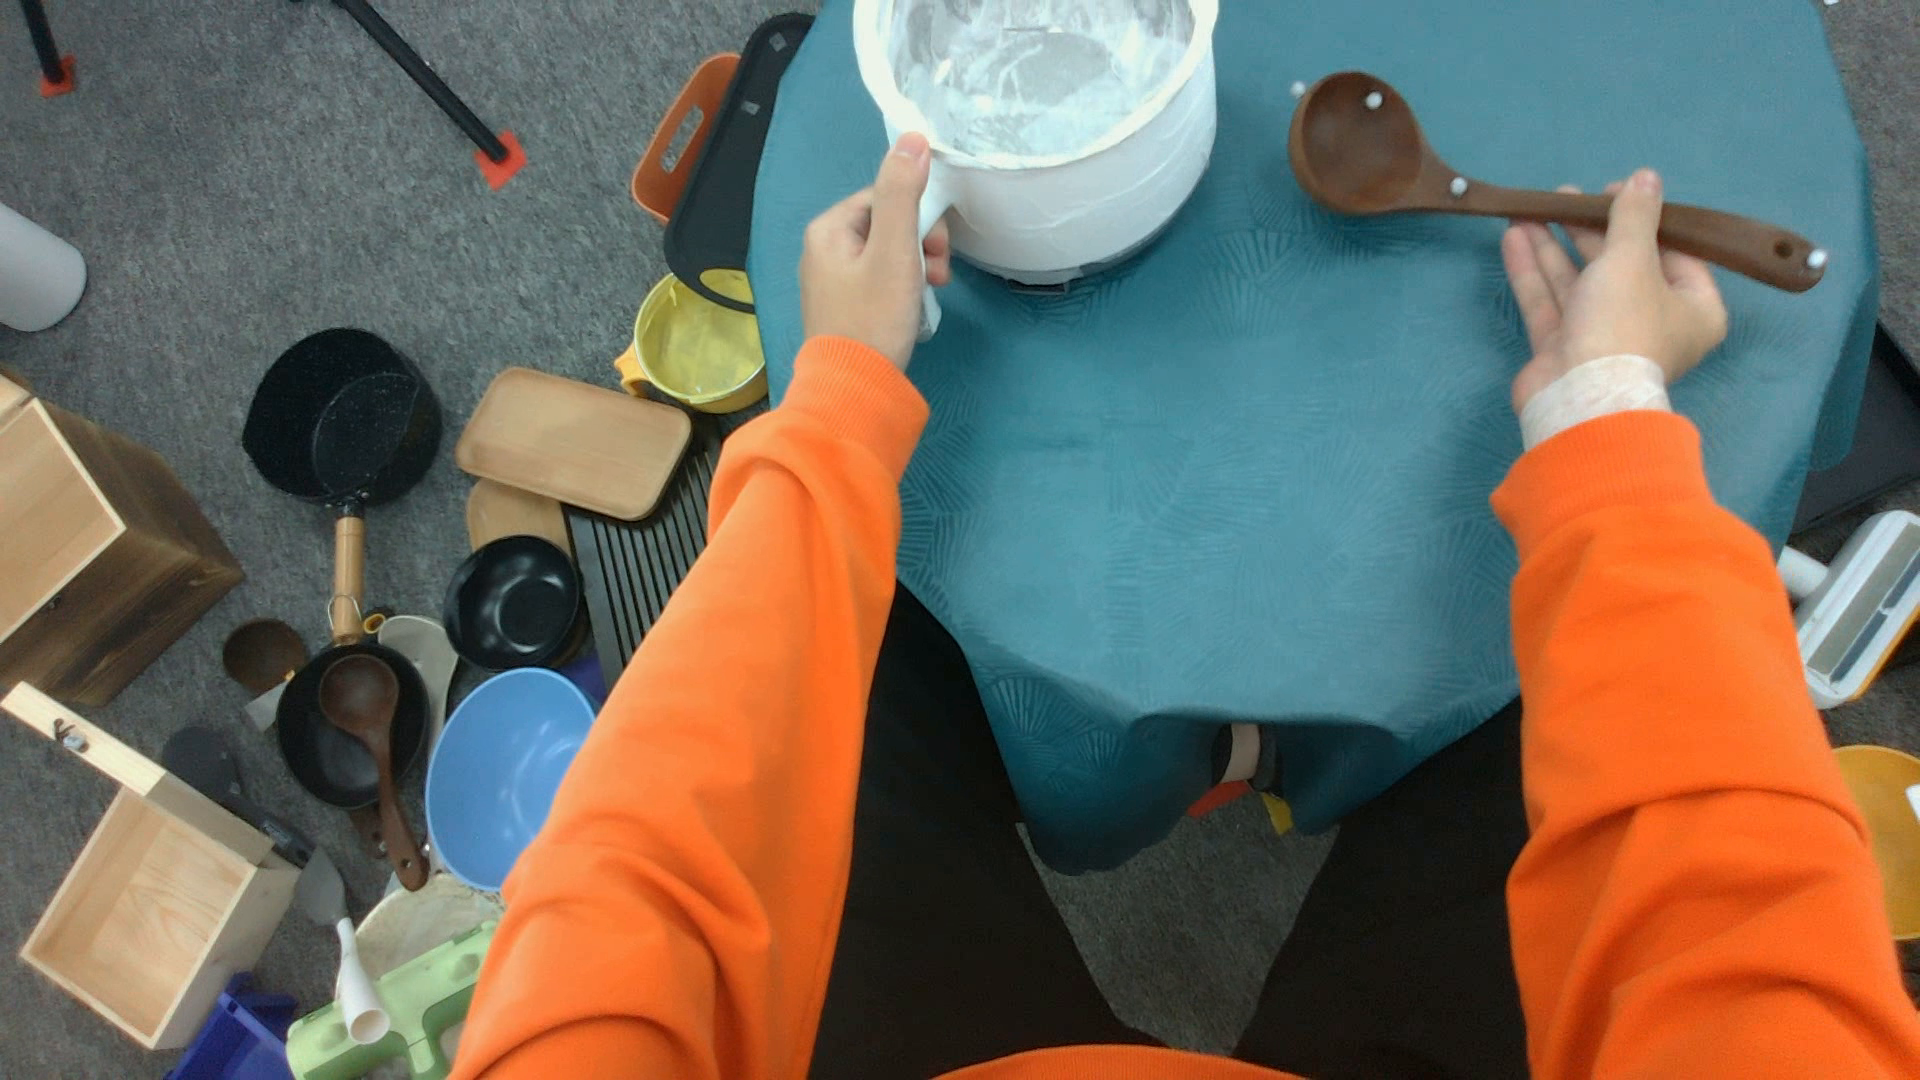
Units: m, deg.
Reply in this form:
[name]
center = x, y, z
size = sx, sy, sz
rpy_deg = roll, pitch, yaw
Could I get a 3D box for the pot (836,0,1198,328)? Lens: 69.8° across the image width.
[pot]
center = 0.020, -0.222, 0.722
size = 0.179, 0.136, 0.234
rpy_deg = 33, 81, 18

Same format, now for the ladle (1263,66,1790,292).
[ladle]
center = 0.278, -0.178, 0.689
size = 0.260, 0.065, 0.076
rpy_deg = 22, 81, 25
